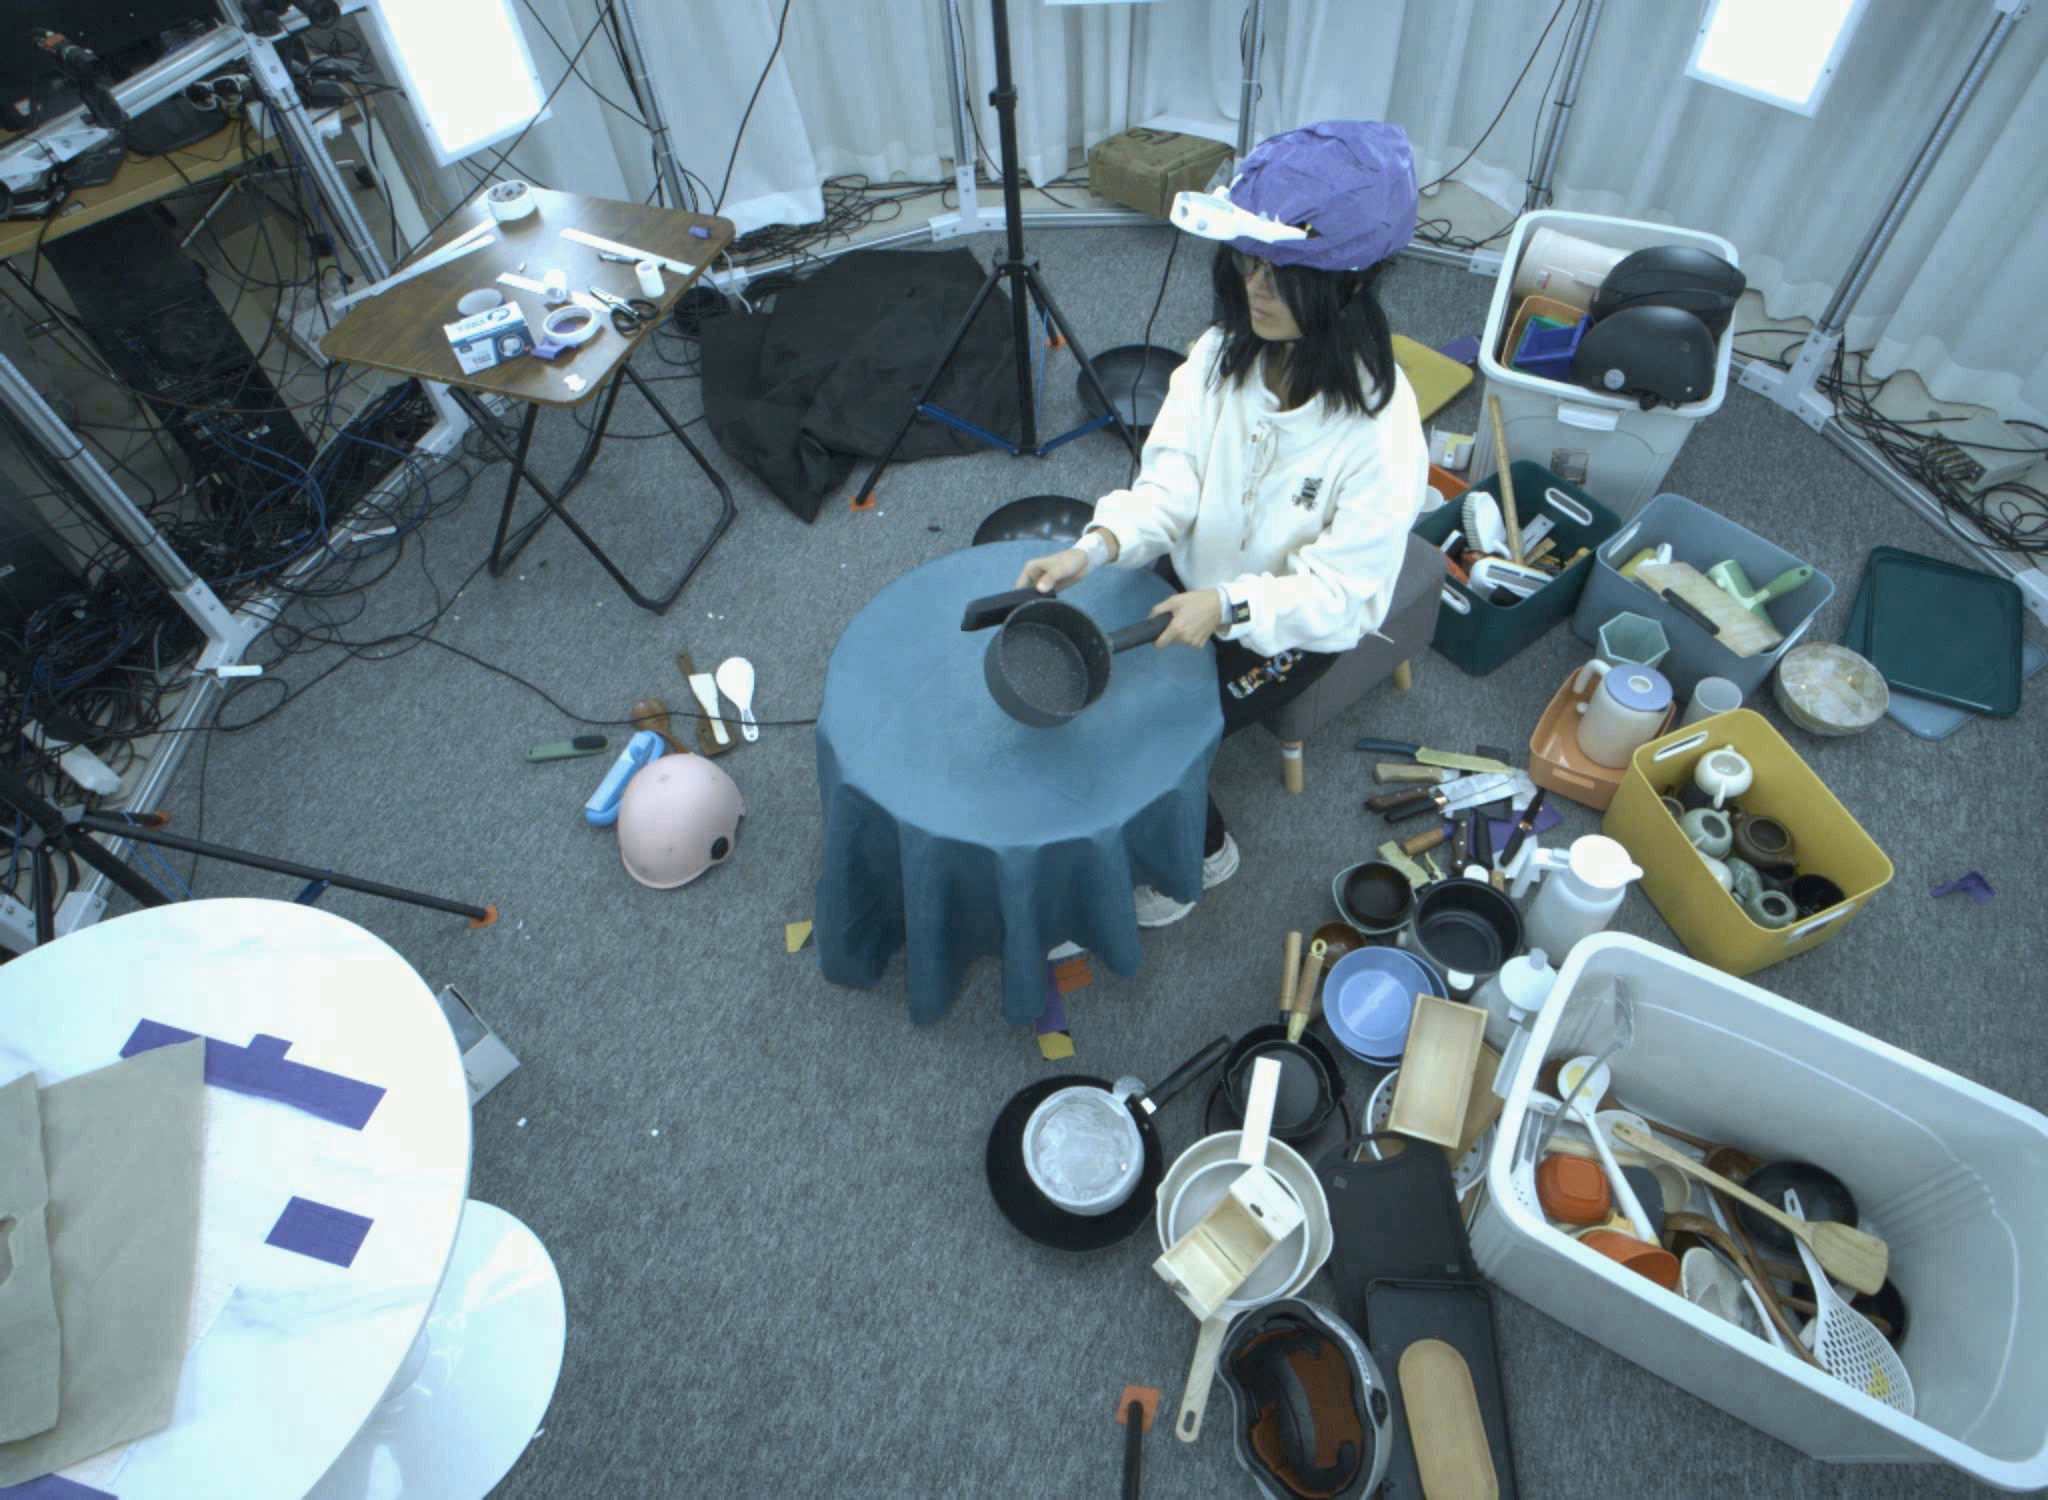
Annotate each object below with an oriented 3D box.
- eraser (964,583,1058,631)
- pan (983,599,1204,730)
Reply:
[{"bbox_3d":[-0.018,-0.200,1.710,0.127,0.053,0.030,-17,78,-24],"label":"eraser"},{"bbox_3d":[0.099,-0.136,1.735,0.333,0.085,0.171,-16,82,-26],"label":"pan"}]
